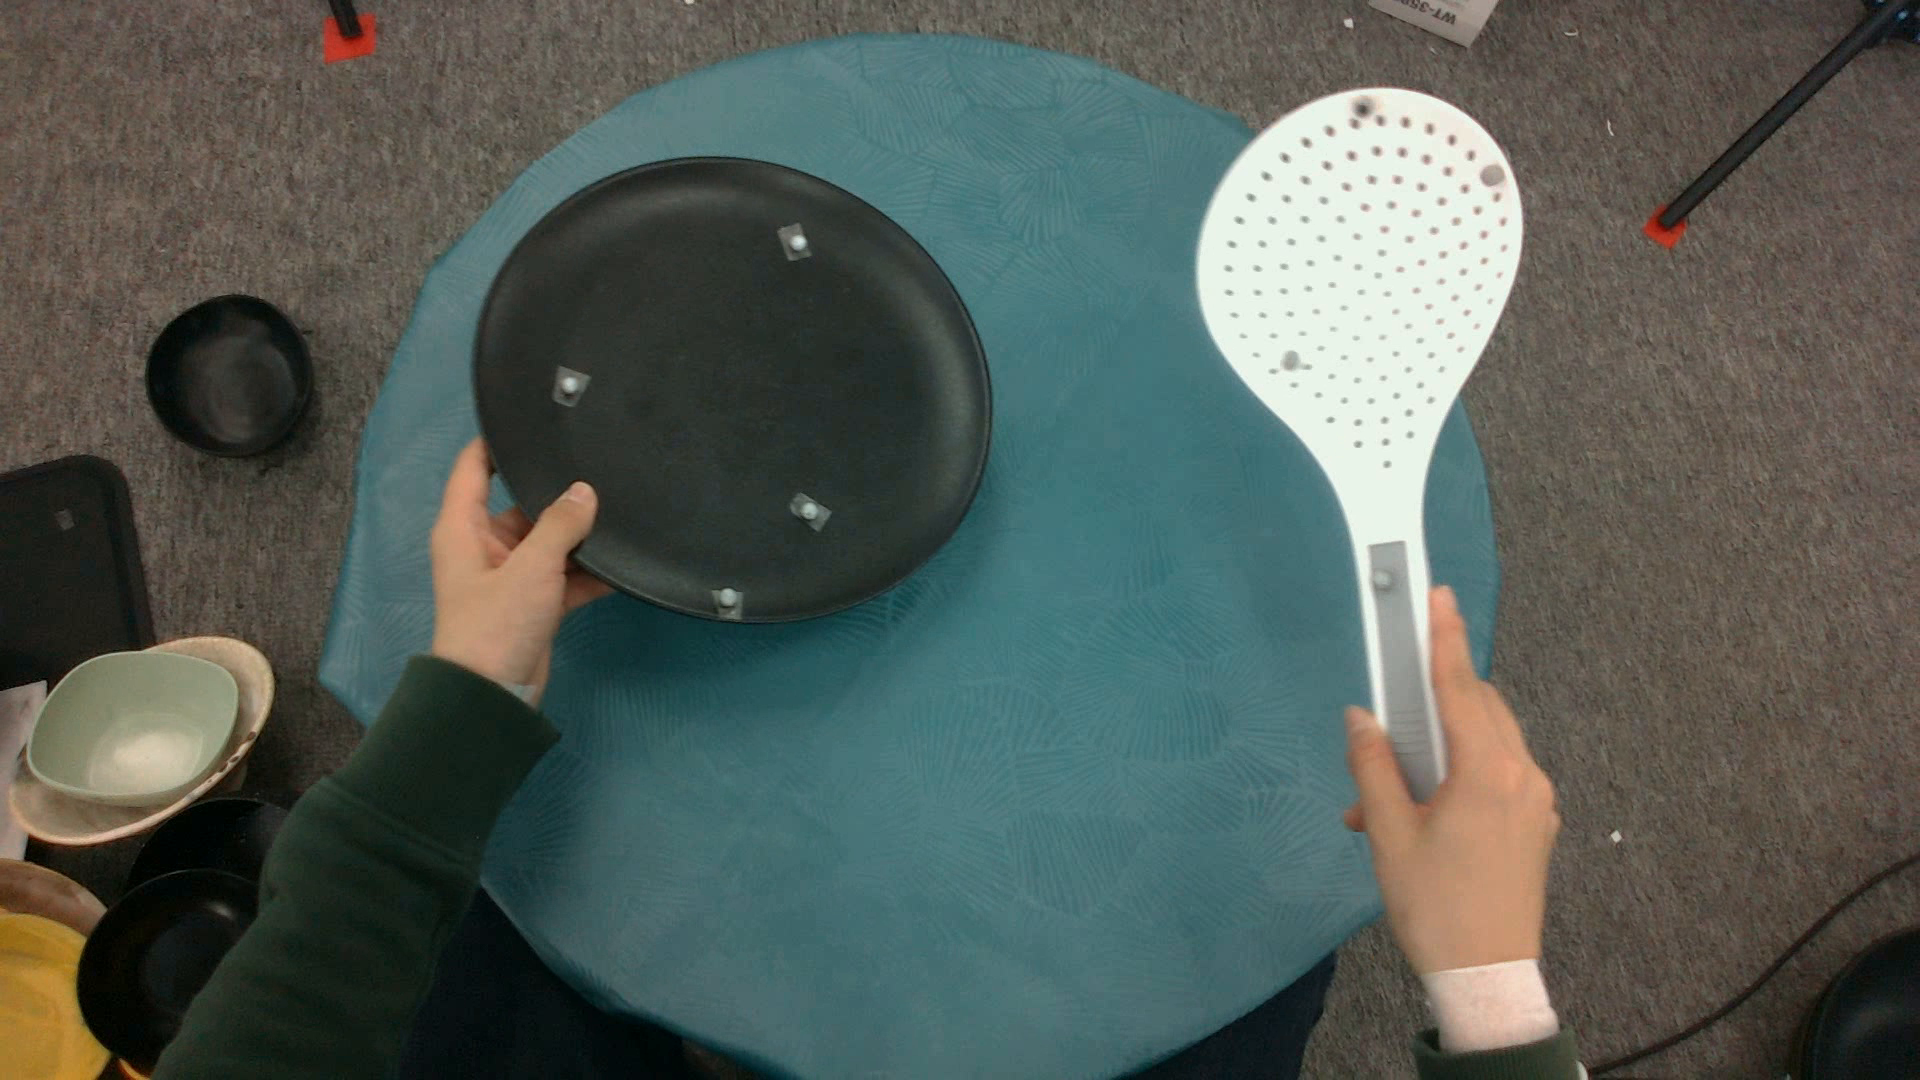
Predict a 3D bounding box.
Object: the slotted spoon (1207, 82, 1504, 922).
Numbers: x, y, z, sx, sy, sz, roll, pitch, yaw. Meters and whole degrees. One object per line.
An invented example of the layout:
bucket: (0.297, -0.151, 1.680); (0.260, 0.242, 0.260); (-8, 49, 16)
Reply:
slotted spoon: (0.175, -0.022, 0.575); (0.046, 0.135, 0.350); (15, 70, -47)

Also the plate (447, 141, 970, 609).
plate: (-0.113, -0.081, 0.653); (0.244, 0.023, 0.245); (7, 67, -17)
